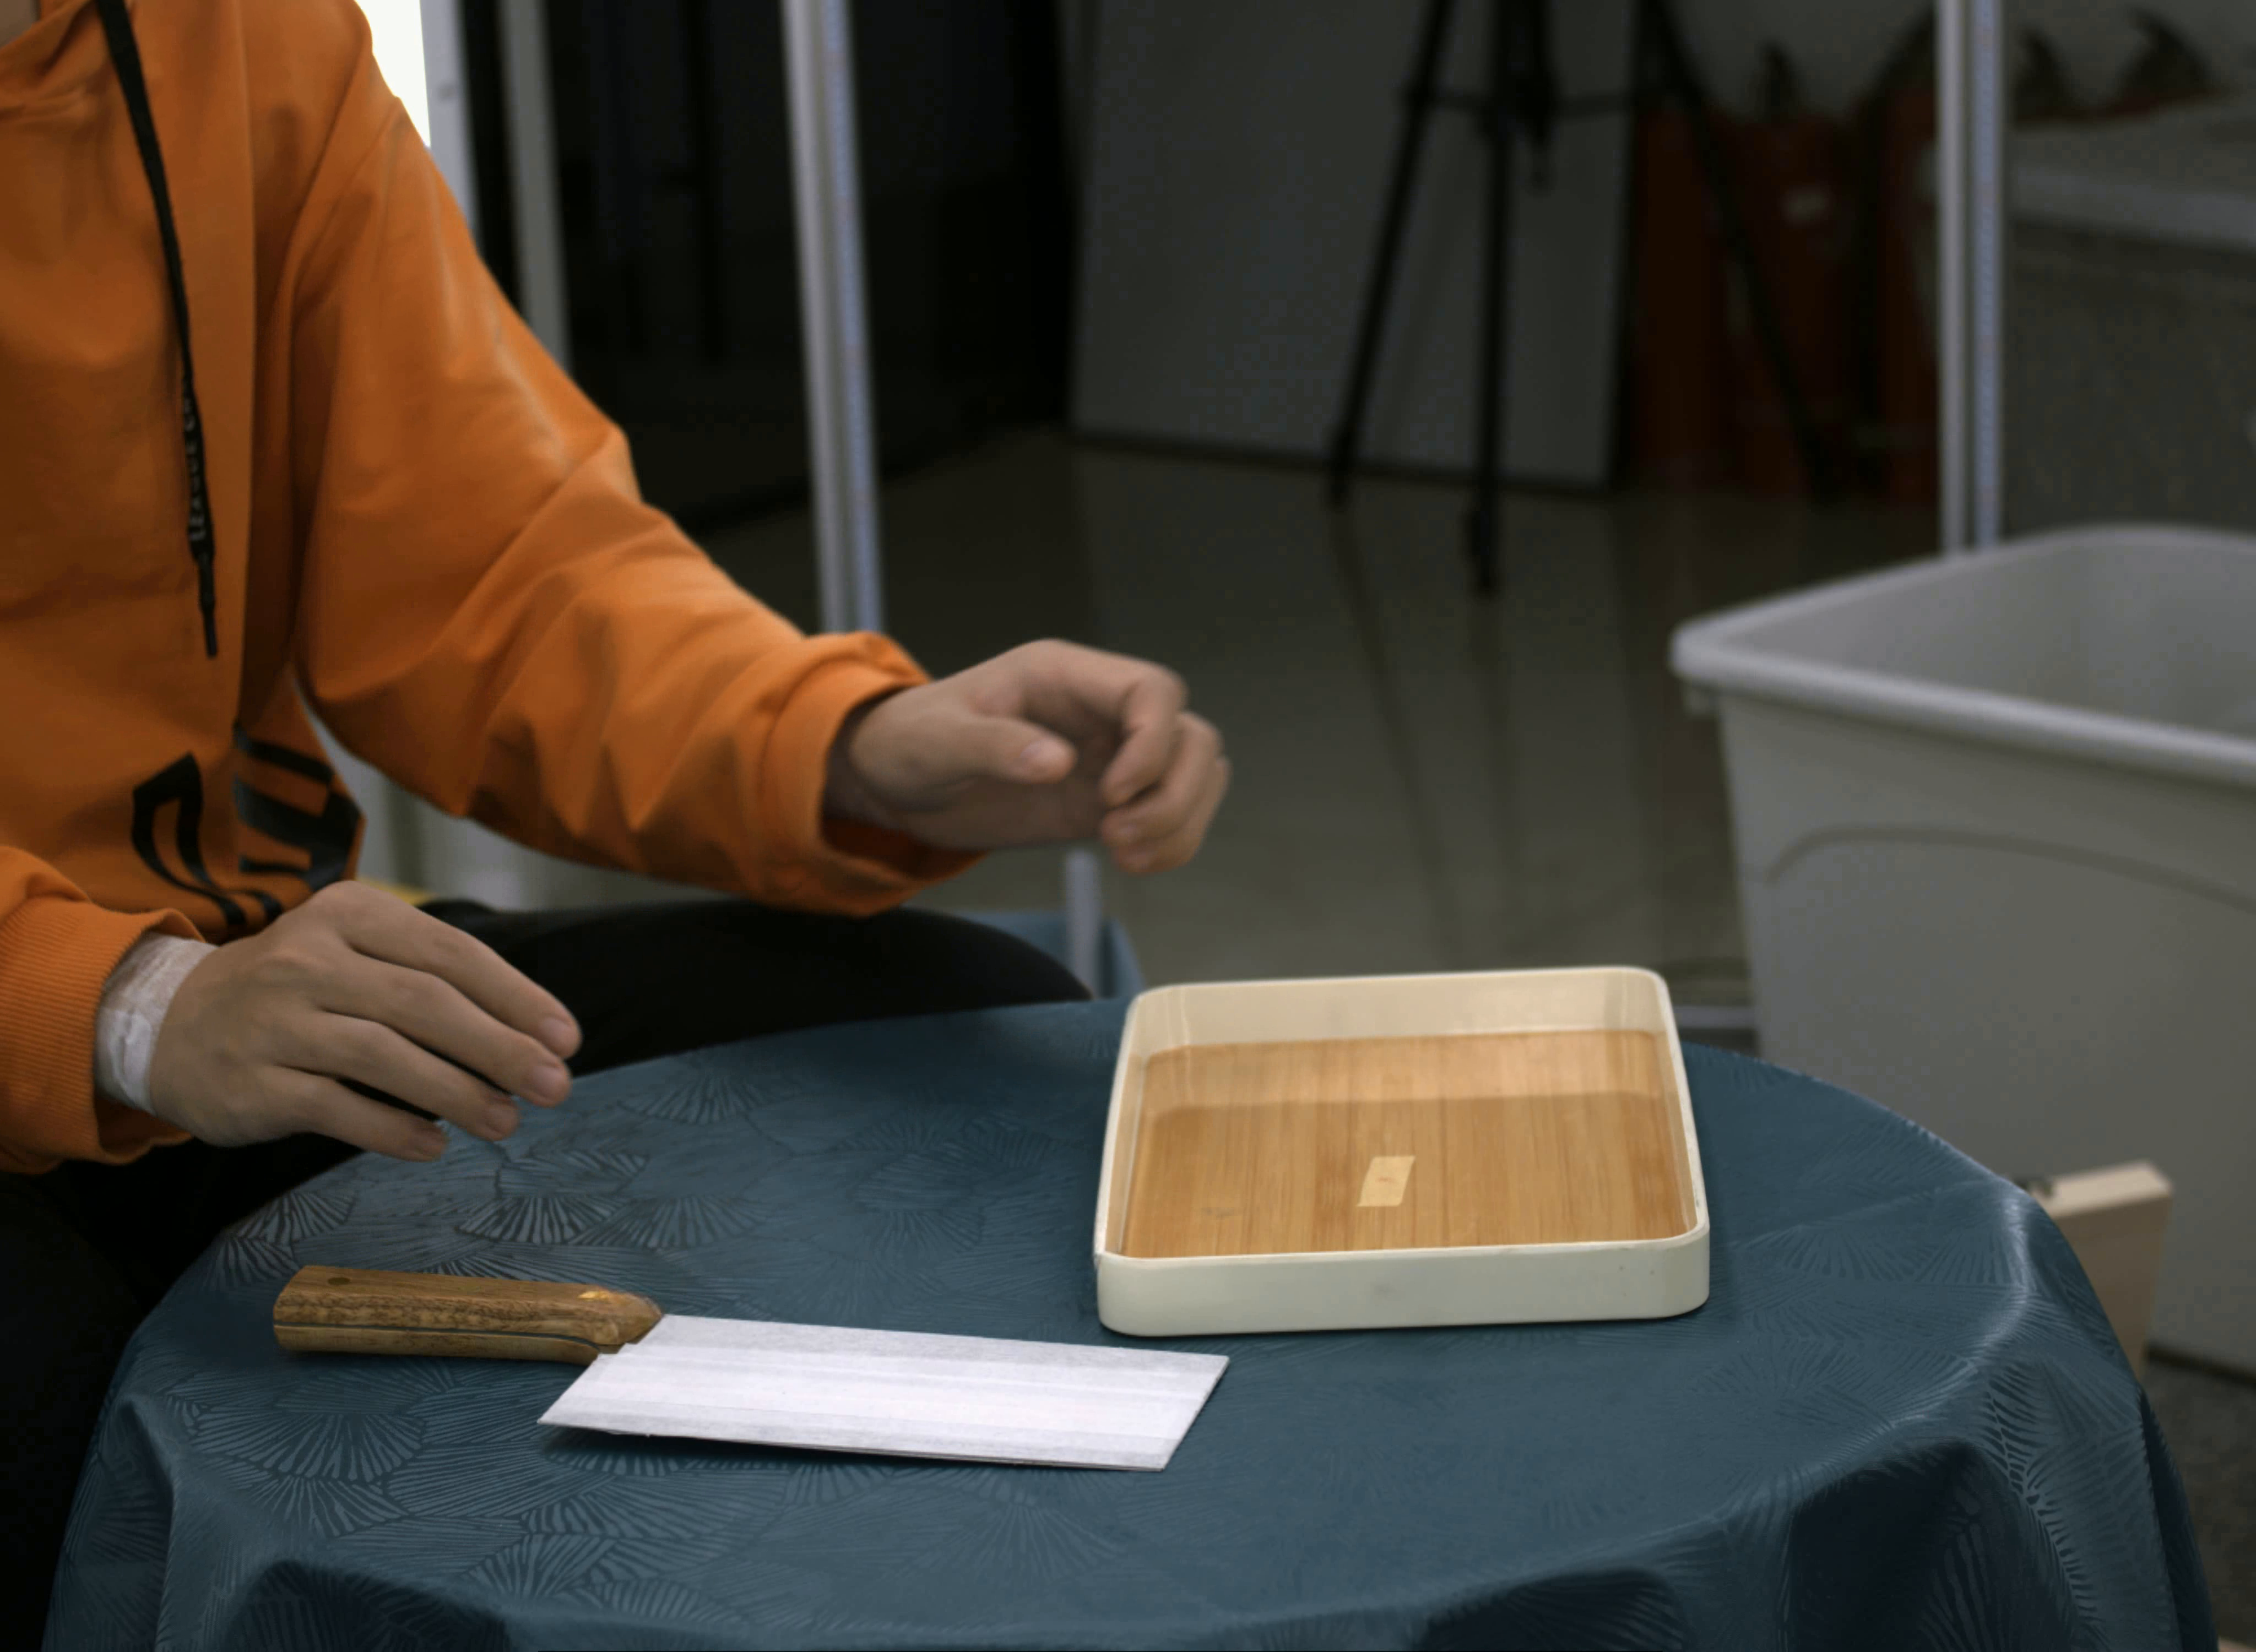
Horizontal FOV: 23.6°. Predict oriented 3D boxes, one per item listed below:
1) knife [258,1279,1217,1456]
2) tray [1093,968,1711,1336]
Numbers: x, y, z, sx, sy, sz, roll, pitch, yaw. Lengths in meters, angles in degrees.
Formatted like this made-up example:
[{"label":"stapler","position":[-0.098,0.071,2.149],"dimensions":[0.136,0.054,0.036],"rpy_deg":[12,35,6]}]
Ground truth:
[{"label":"knife","position":[-0.125,0.164,1.603],"dimensions":[0.304,0.021,0.092],"rpy_deg":[2,16,16]},{"label":"tray","position":[0.089,0.103,1.760],"dimensions":[0.189,0.028,0.300],"rpy_deg":[-3,14,4]}]
